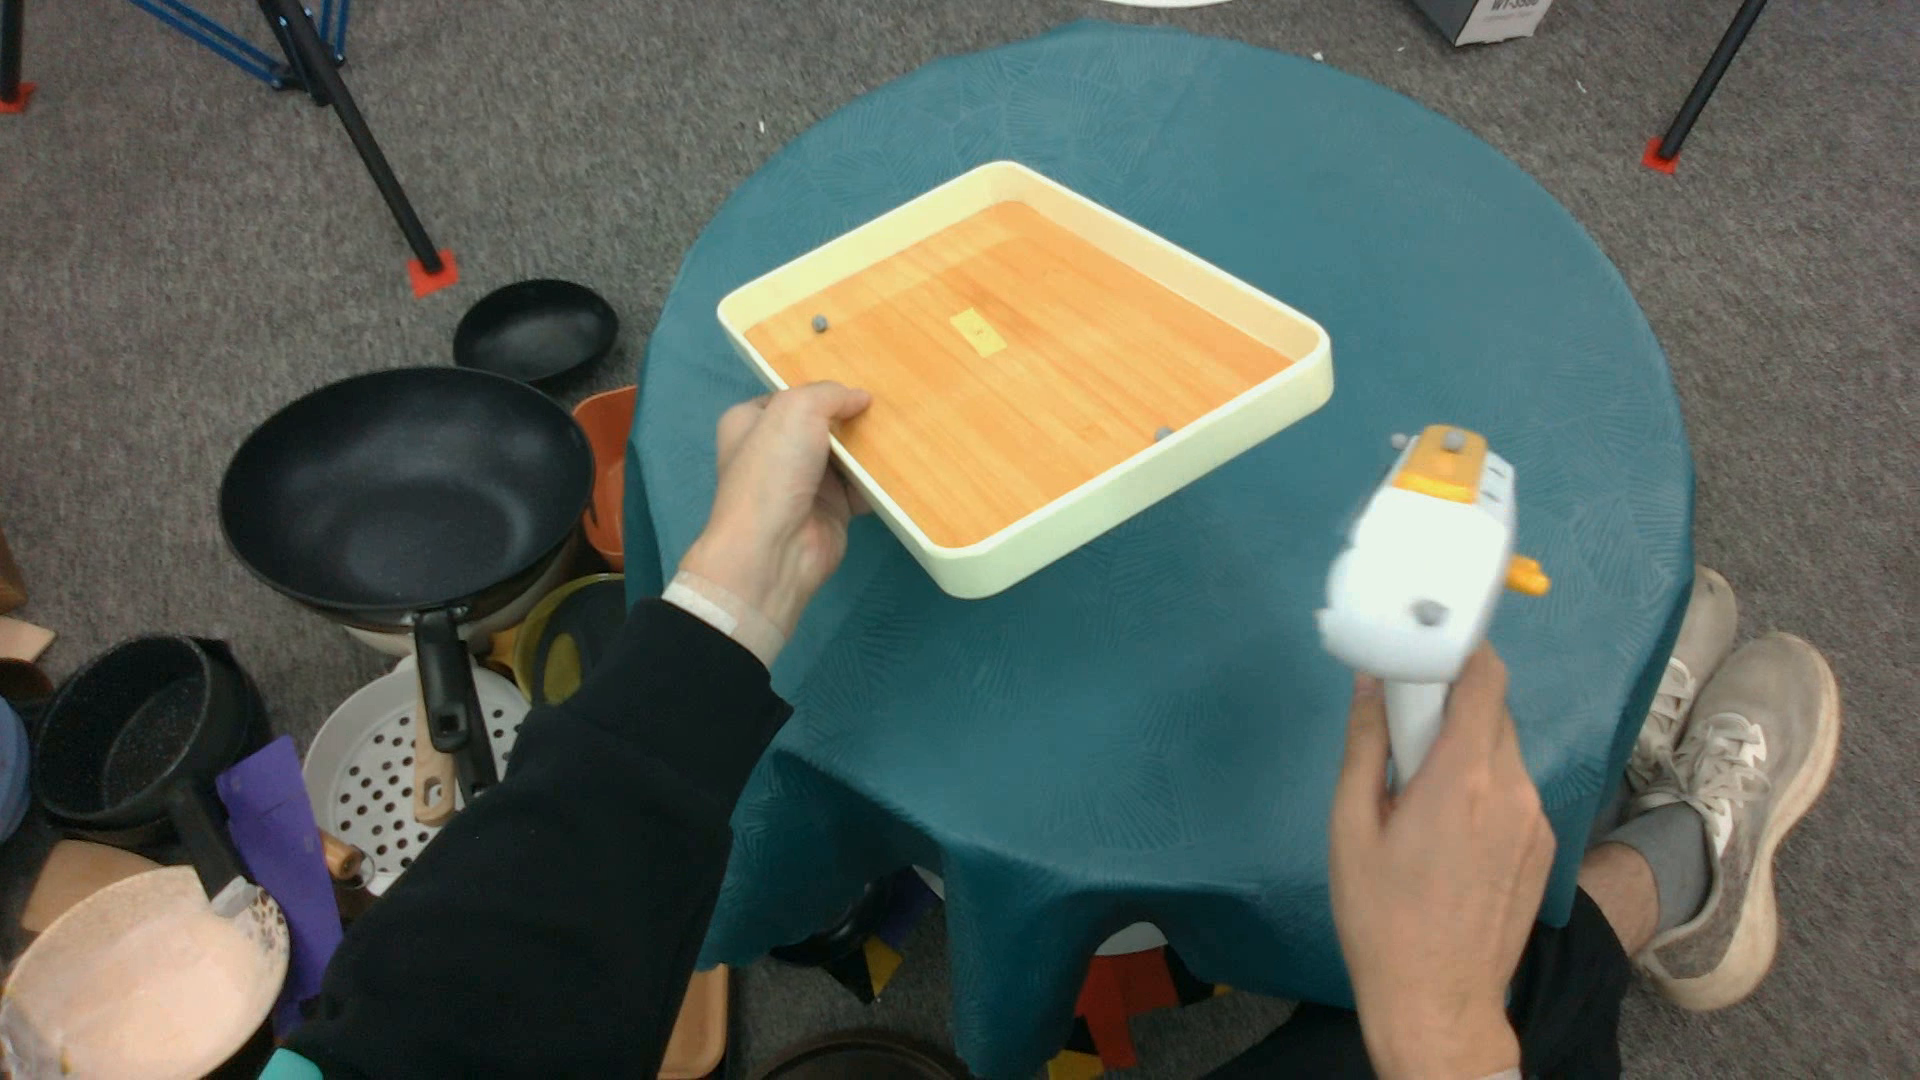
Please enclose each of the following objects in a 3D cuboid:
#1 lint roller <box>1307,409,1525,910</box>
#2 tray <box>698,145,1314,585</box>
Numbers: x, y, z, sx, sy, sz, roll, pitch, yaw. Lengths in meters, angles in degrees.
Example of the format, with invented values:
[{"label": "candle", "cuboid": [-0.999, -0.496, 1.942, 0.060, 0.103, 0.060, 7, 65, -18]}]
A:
[{"label": "lint roller", "cuboid": [0.175, 0.055, 0.546, 0.074, 0.192, 0.193, 9, 18, 15]}, {"label": "tray", "cuboid": [0.004, -0.102, 0.653, 0.192, 0.027, 0.301, -29, 39, -12]}]
